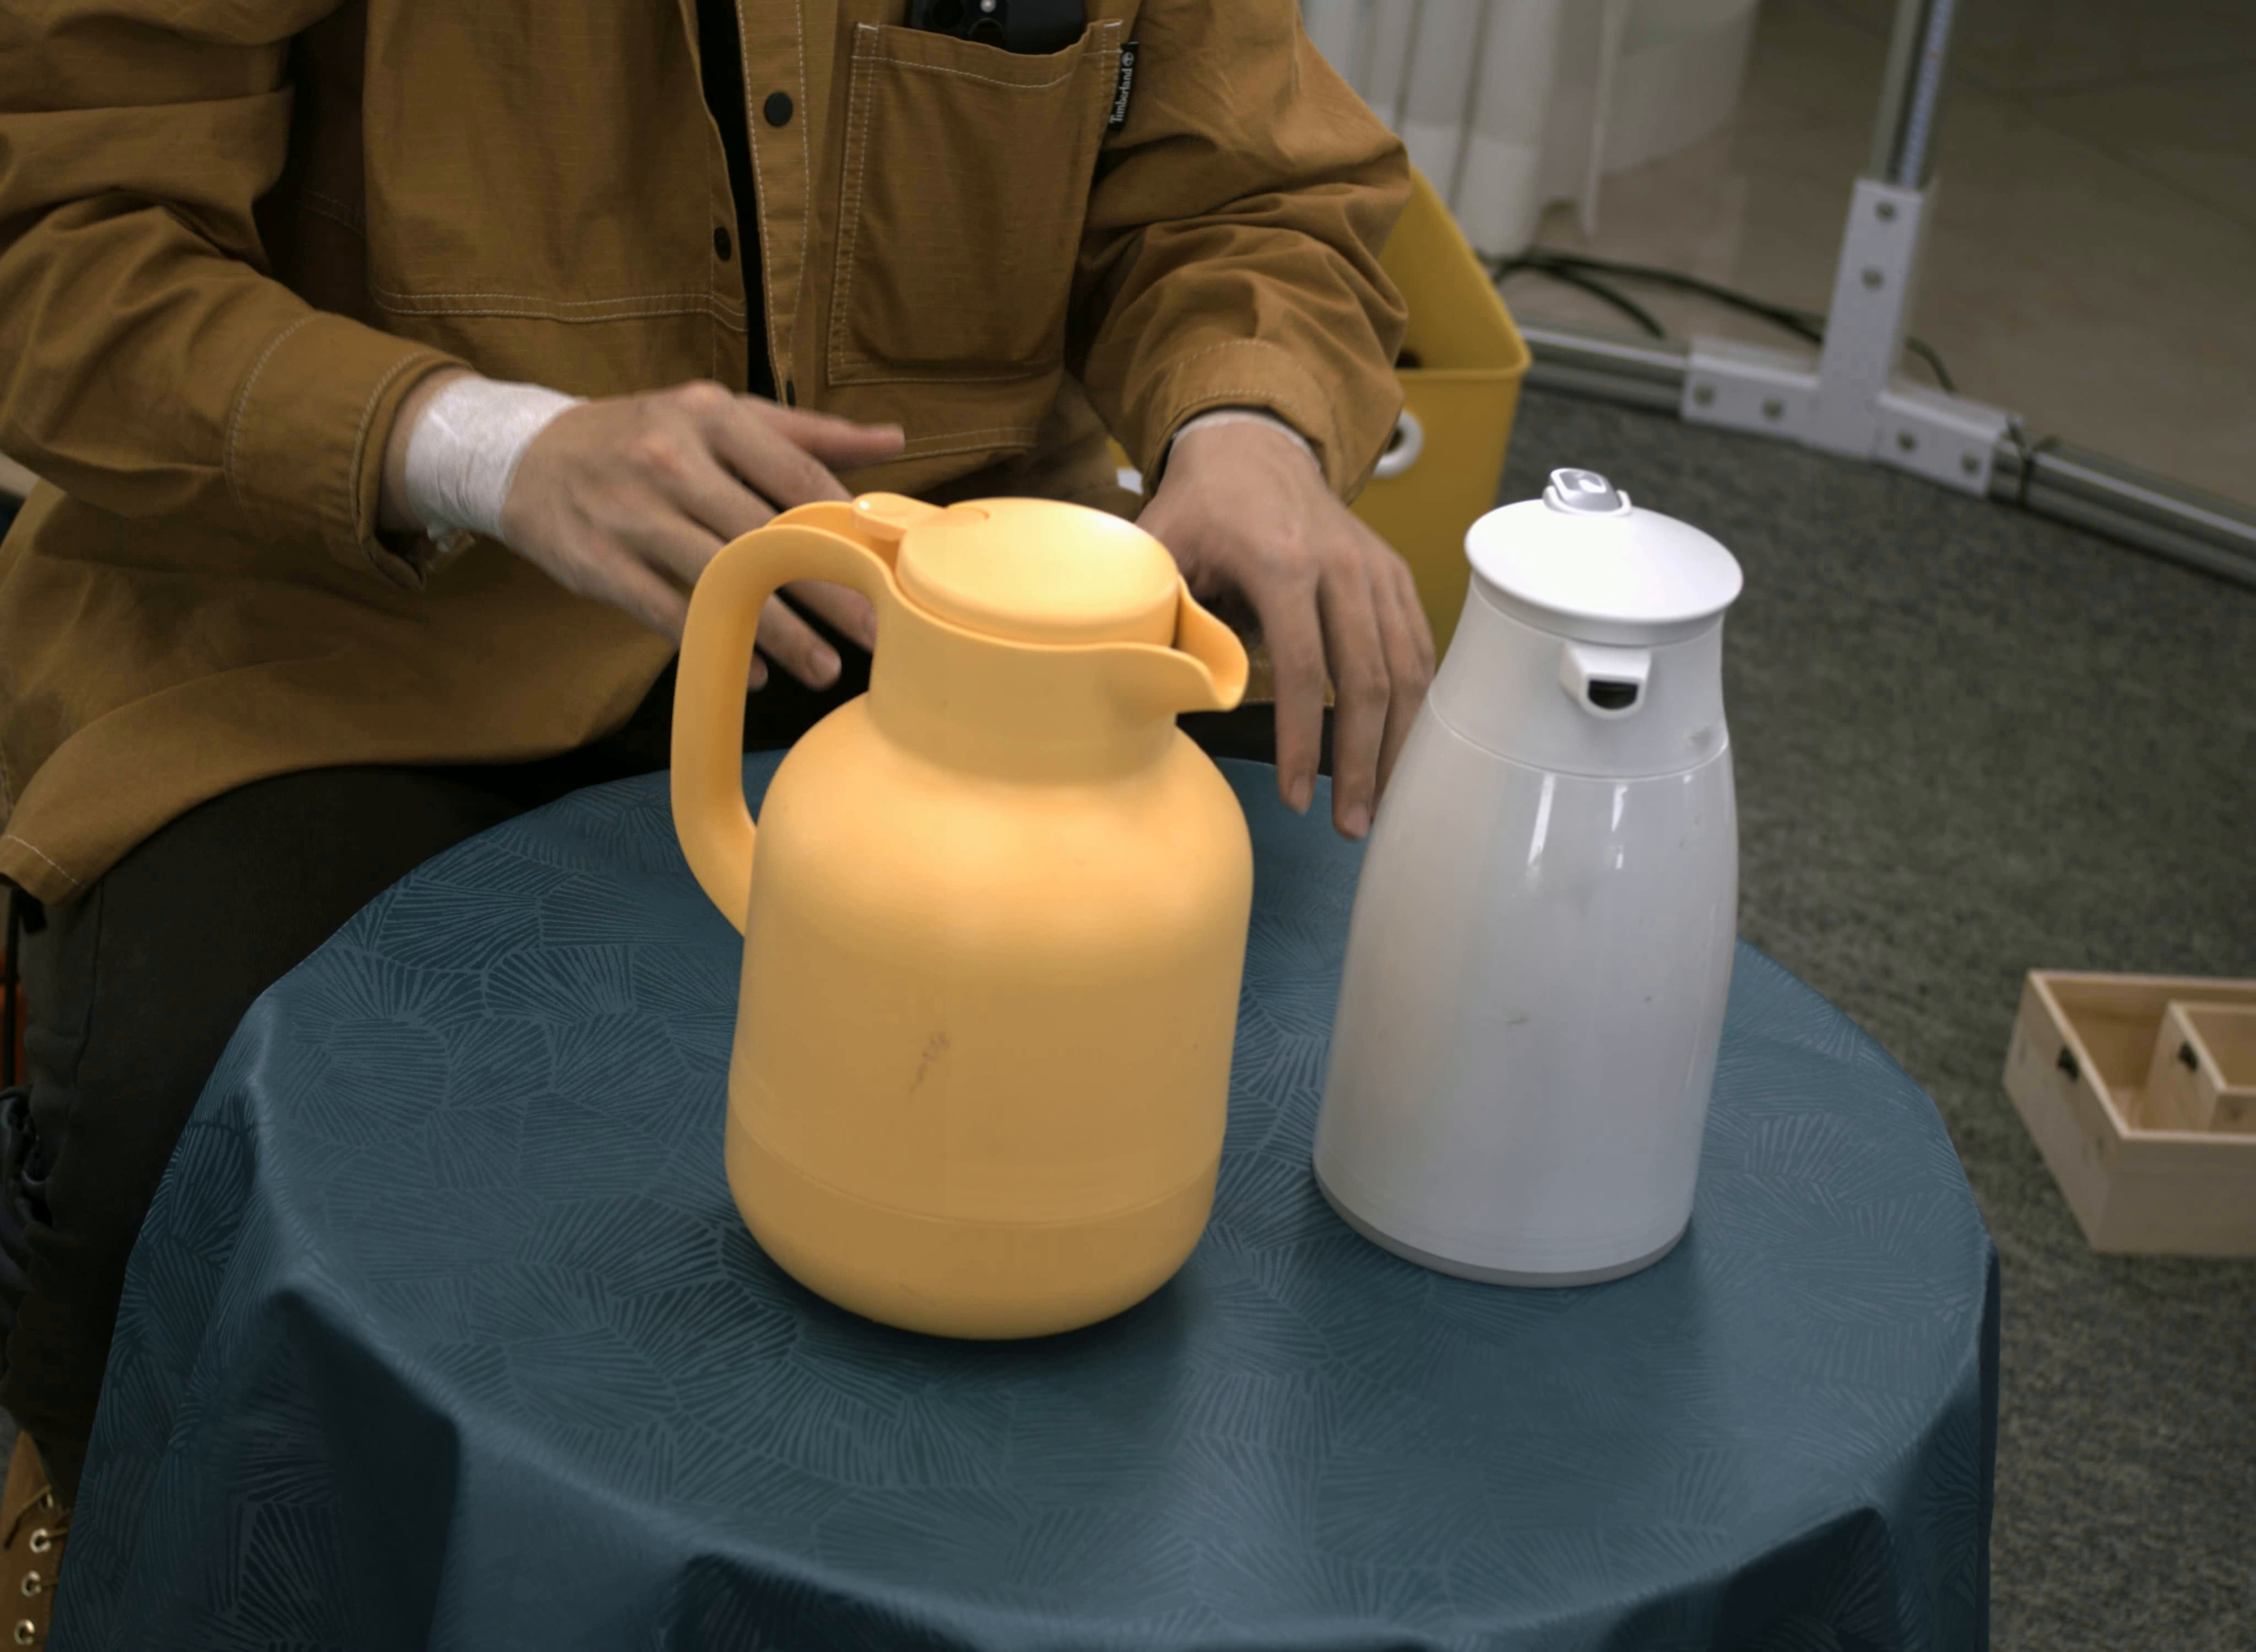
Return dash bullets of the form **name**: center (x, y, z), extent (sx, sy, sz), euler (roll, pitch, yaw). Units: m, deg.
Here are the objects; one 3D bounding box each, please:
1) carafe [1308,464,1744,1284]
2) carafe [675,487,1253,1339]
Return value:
- **carafe**: center (0.140, 0.005, 1.795), extent (0.132, 0.248, 0.169), euler (5, 26, -4)
- **carafe**: center (-0.058, 0.017, 1.715), extent (0.203, 0.260, 0.163), euler (22, 28, 26)
